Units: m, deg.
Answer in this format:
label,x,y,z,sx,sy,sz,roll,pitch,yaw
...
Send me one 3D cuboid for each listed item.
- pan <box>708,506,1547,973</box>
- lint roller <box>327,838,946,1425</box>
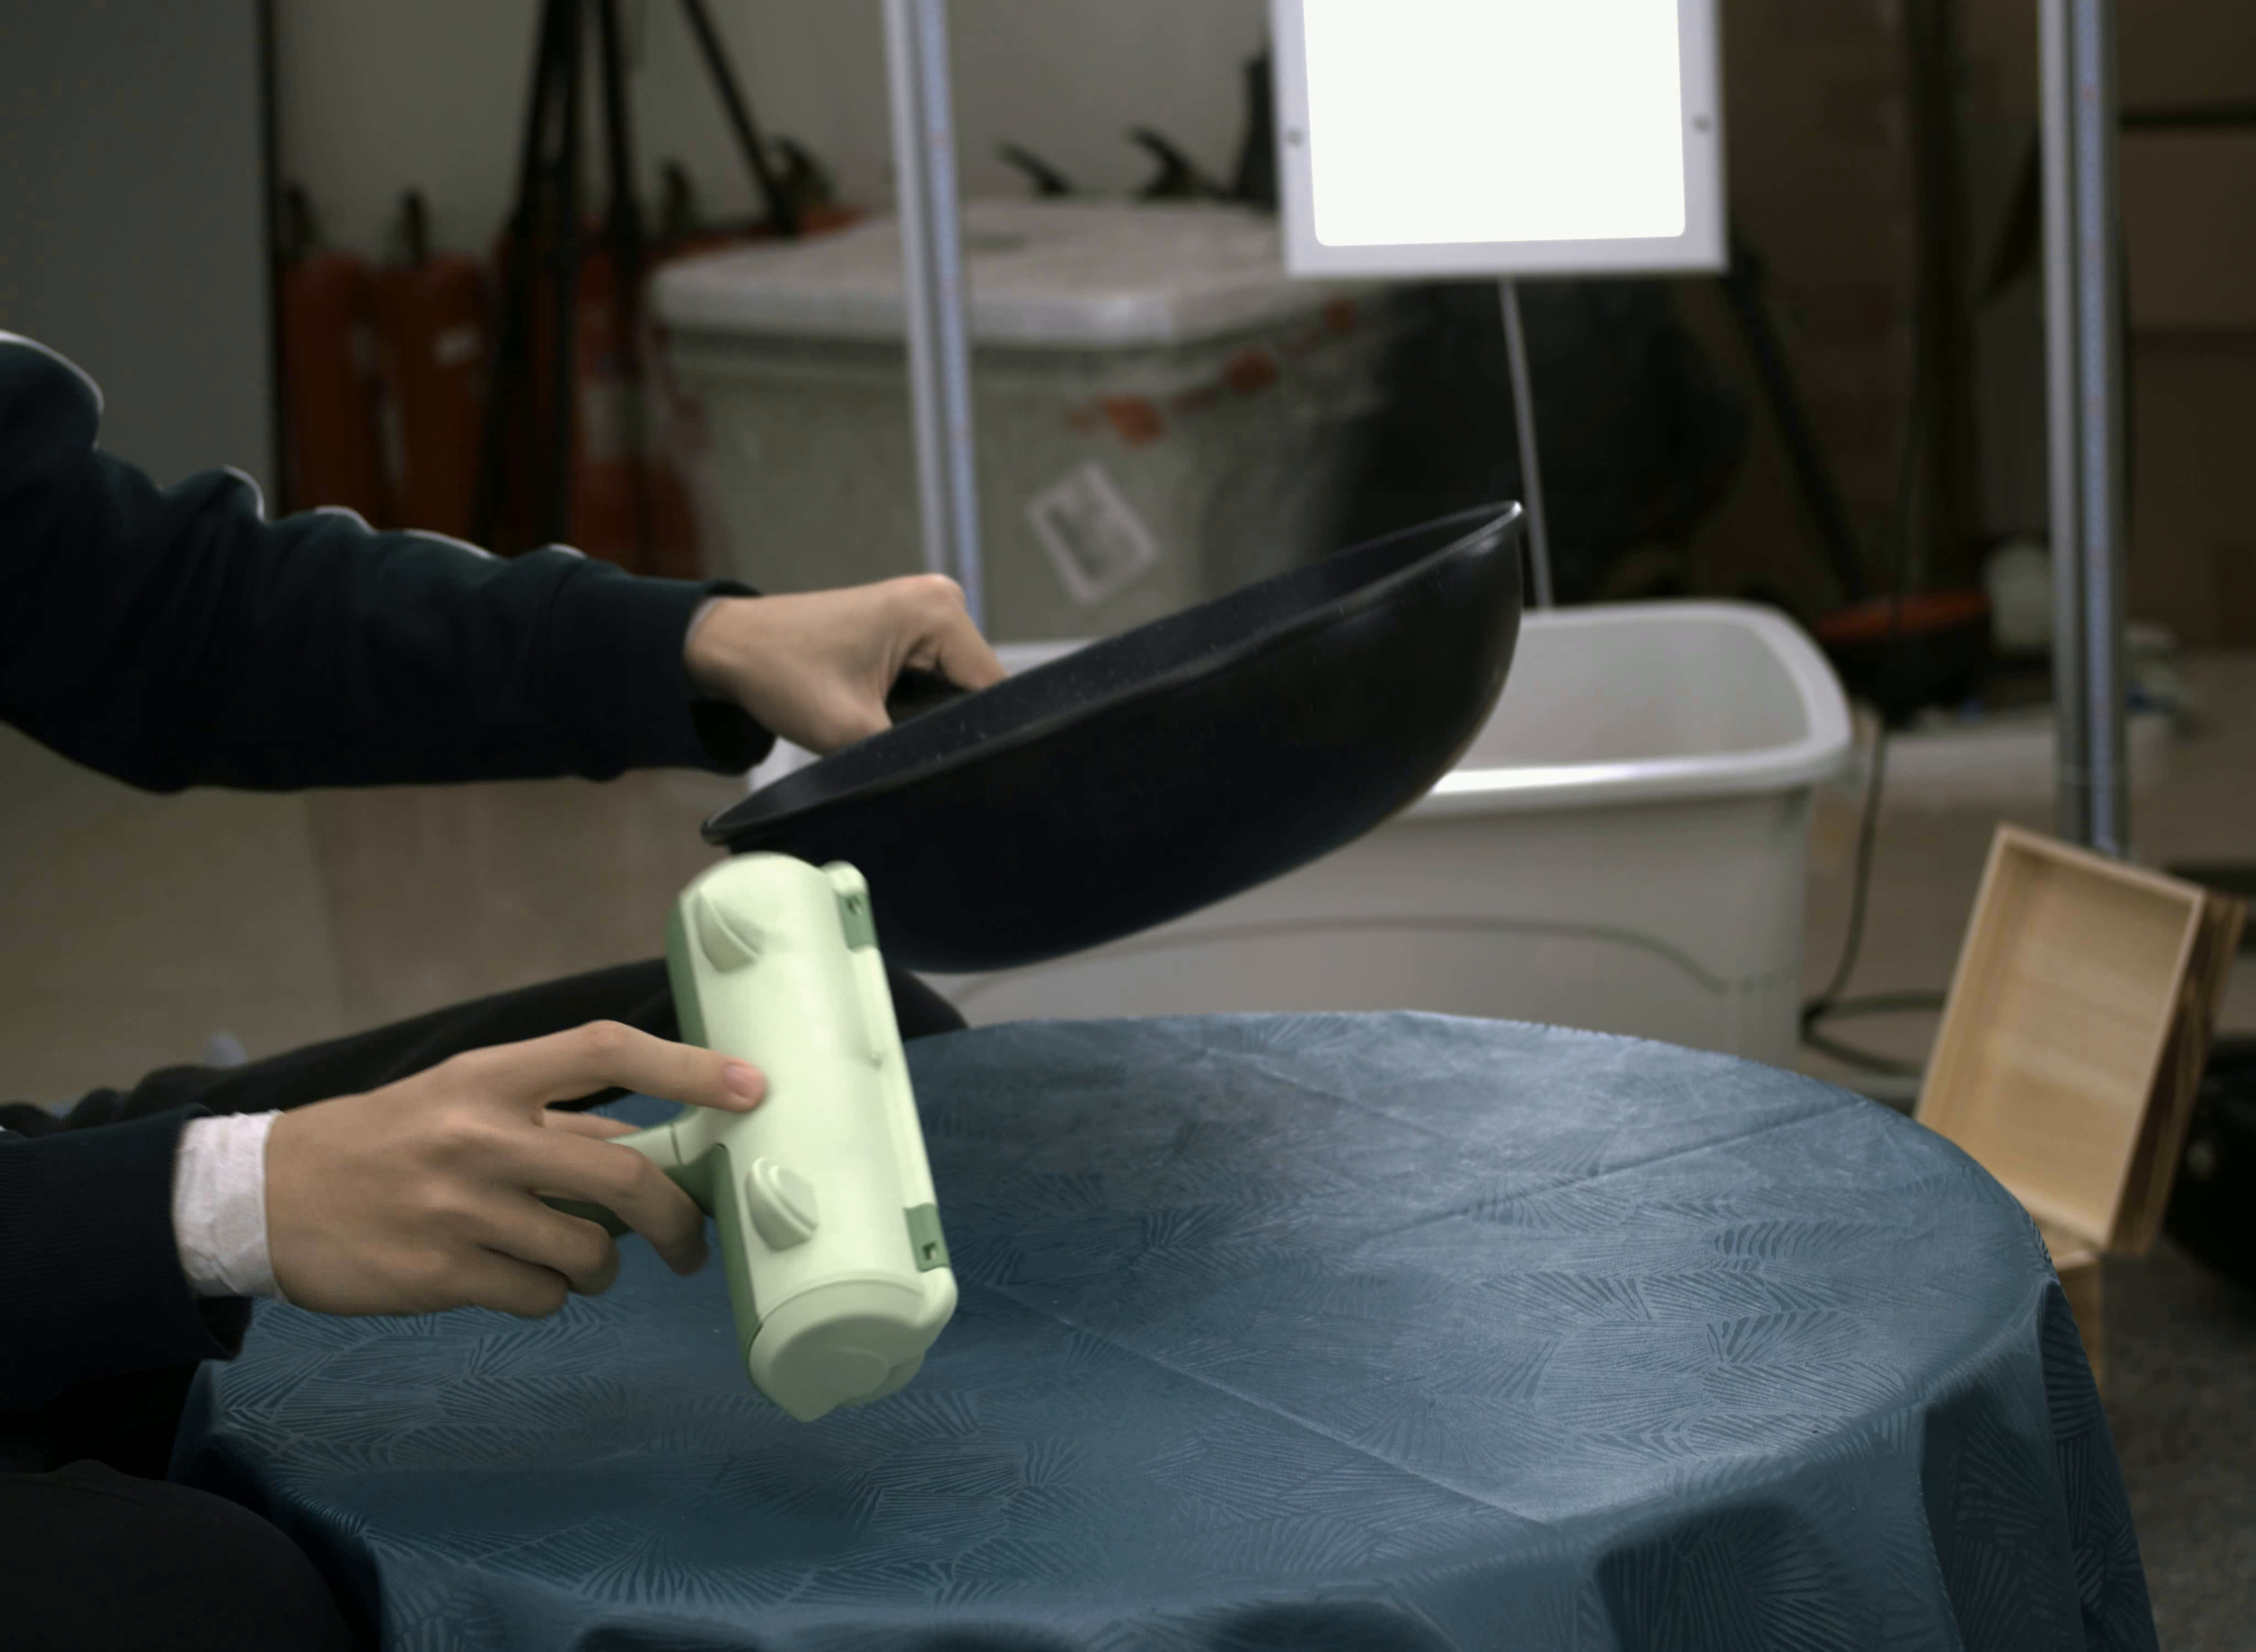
label,x,y,z,sx,sy,sz,roll,pitch,yaw
pan,-0.024,-0.024,1.986,0.305,0.112,0.484,-22,5,-21
lint roller,-0.159,0.096,1.666,0.183,0.082,0.199,-13,48,-1
